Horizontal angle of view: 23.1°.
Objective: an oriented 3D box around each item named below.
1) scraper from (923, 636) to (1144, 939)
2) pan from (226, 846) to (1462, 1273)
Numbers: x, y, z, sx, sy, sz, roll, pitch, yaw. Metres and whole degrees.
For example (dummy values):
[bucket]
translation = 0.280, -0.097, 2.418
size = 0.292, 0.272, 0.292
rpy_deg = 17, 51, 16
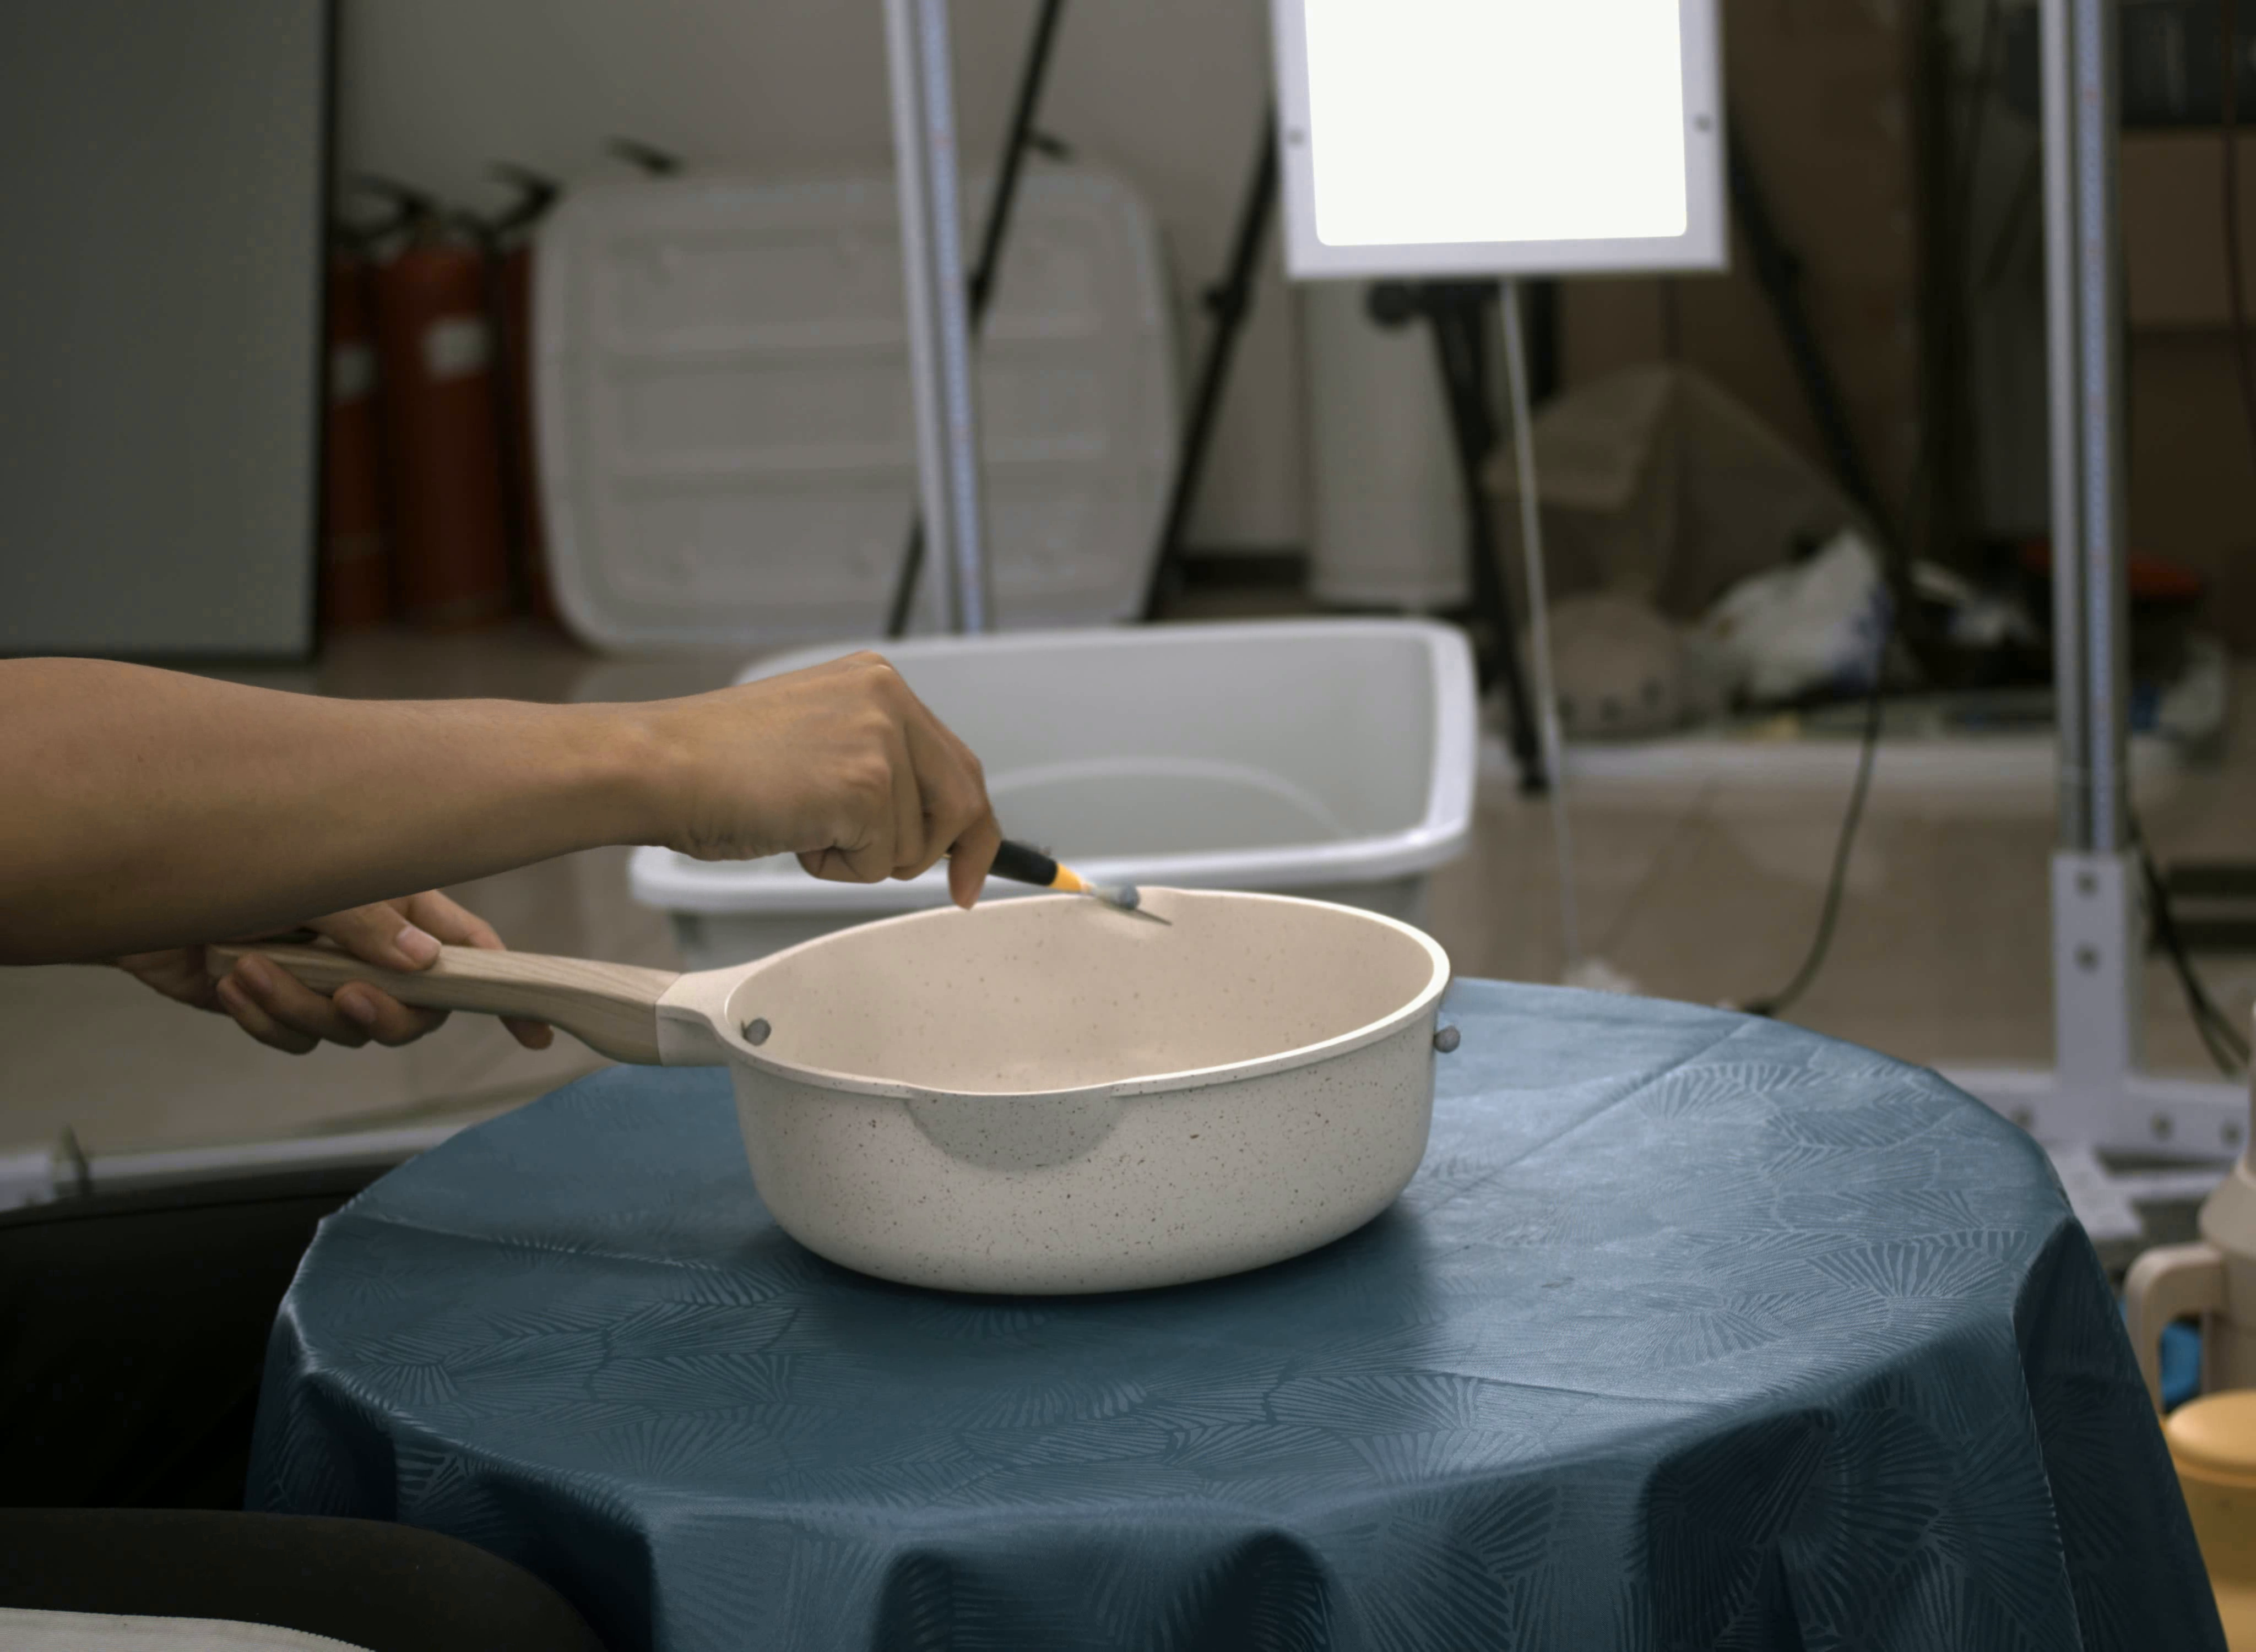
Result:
[scraper]
translation = -0.033, -0.011, 1.872
size = 0.039, 0.170, 0.015
rpy_deg = 15, 62, 29
[pan]
translation = -0.098, 0.078, 1.909
size = 0.438, 0.102, 0.260
rpy_deg = -2, 16, 12
